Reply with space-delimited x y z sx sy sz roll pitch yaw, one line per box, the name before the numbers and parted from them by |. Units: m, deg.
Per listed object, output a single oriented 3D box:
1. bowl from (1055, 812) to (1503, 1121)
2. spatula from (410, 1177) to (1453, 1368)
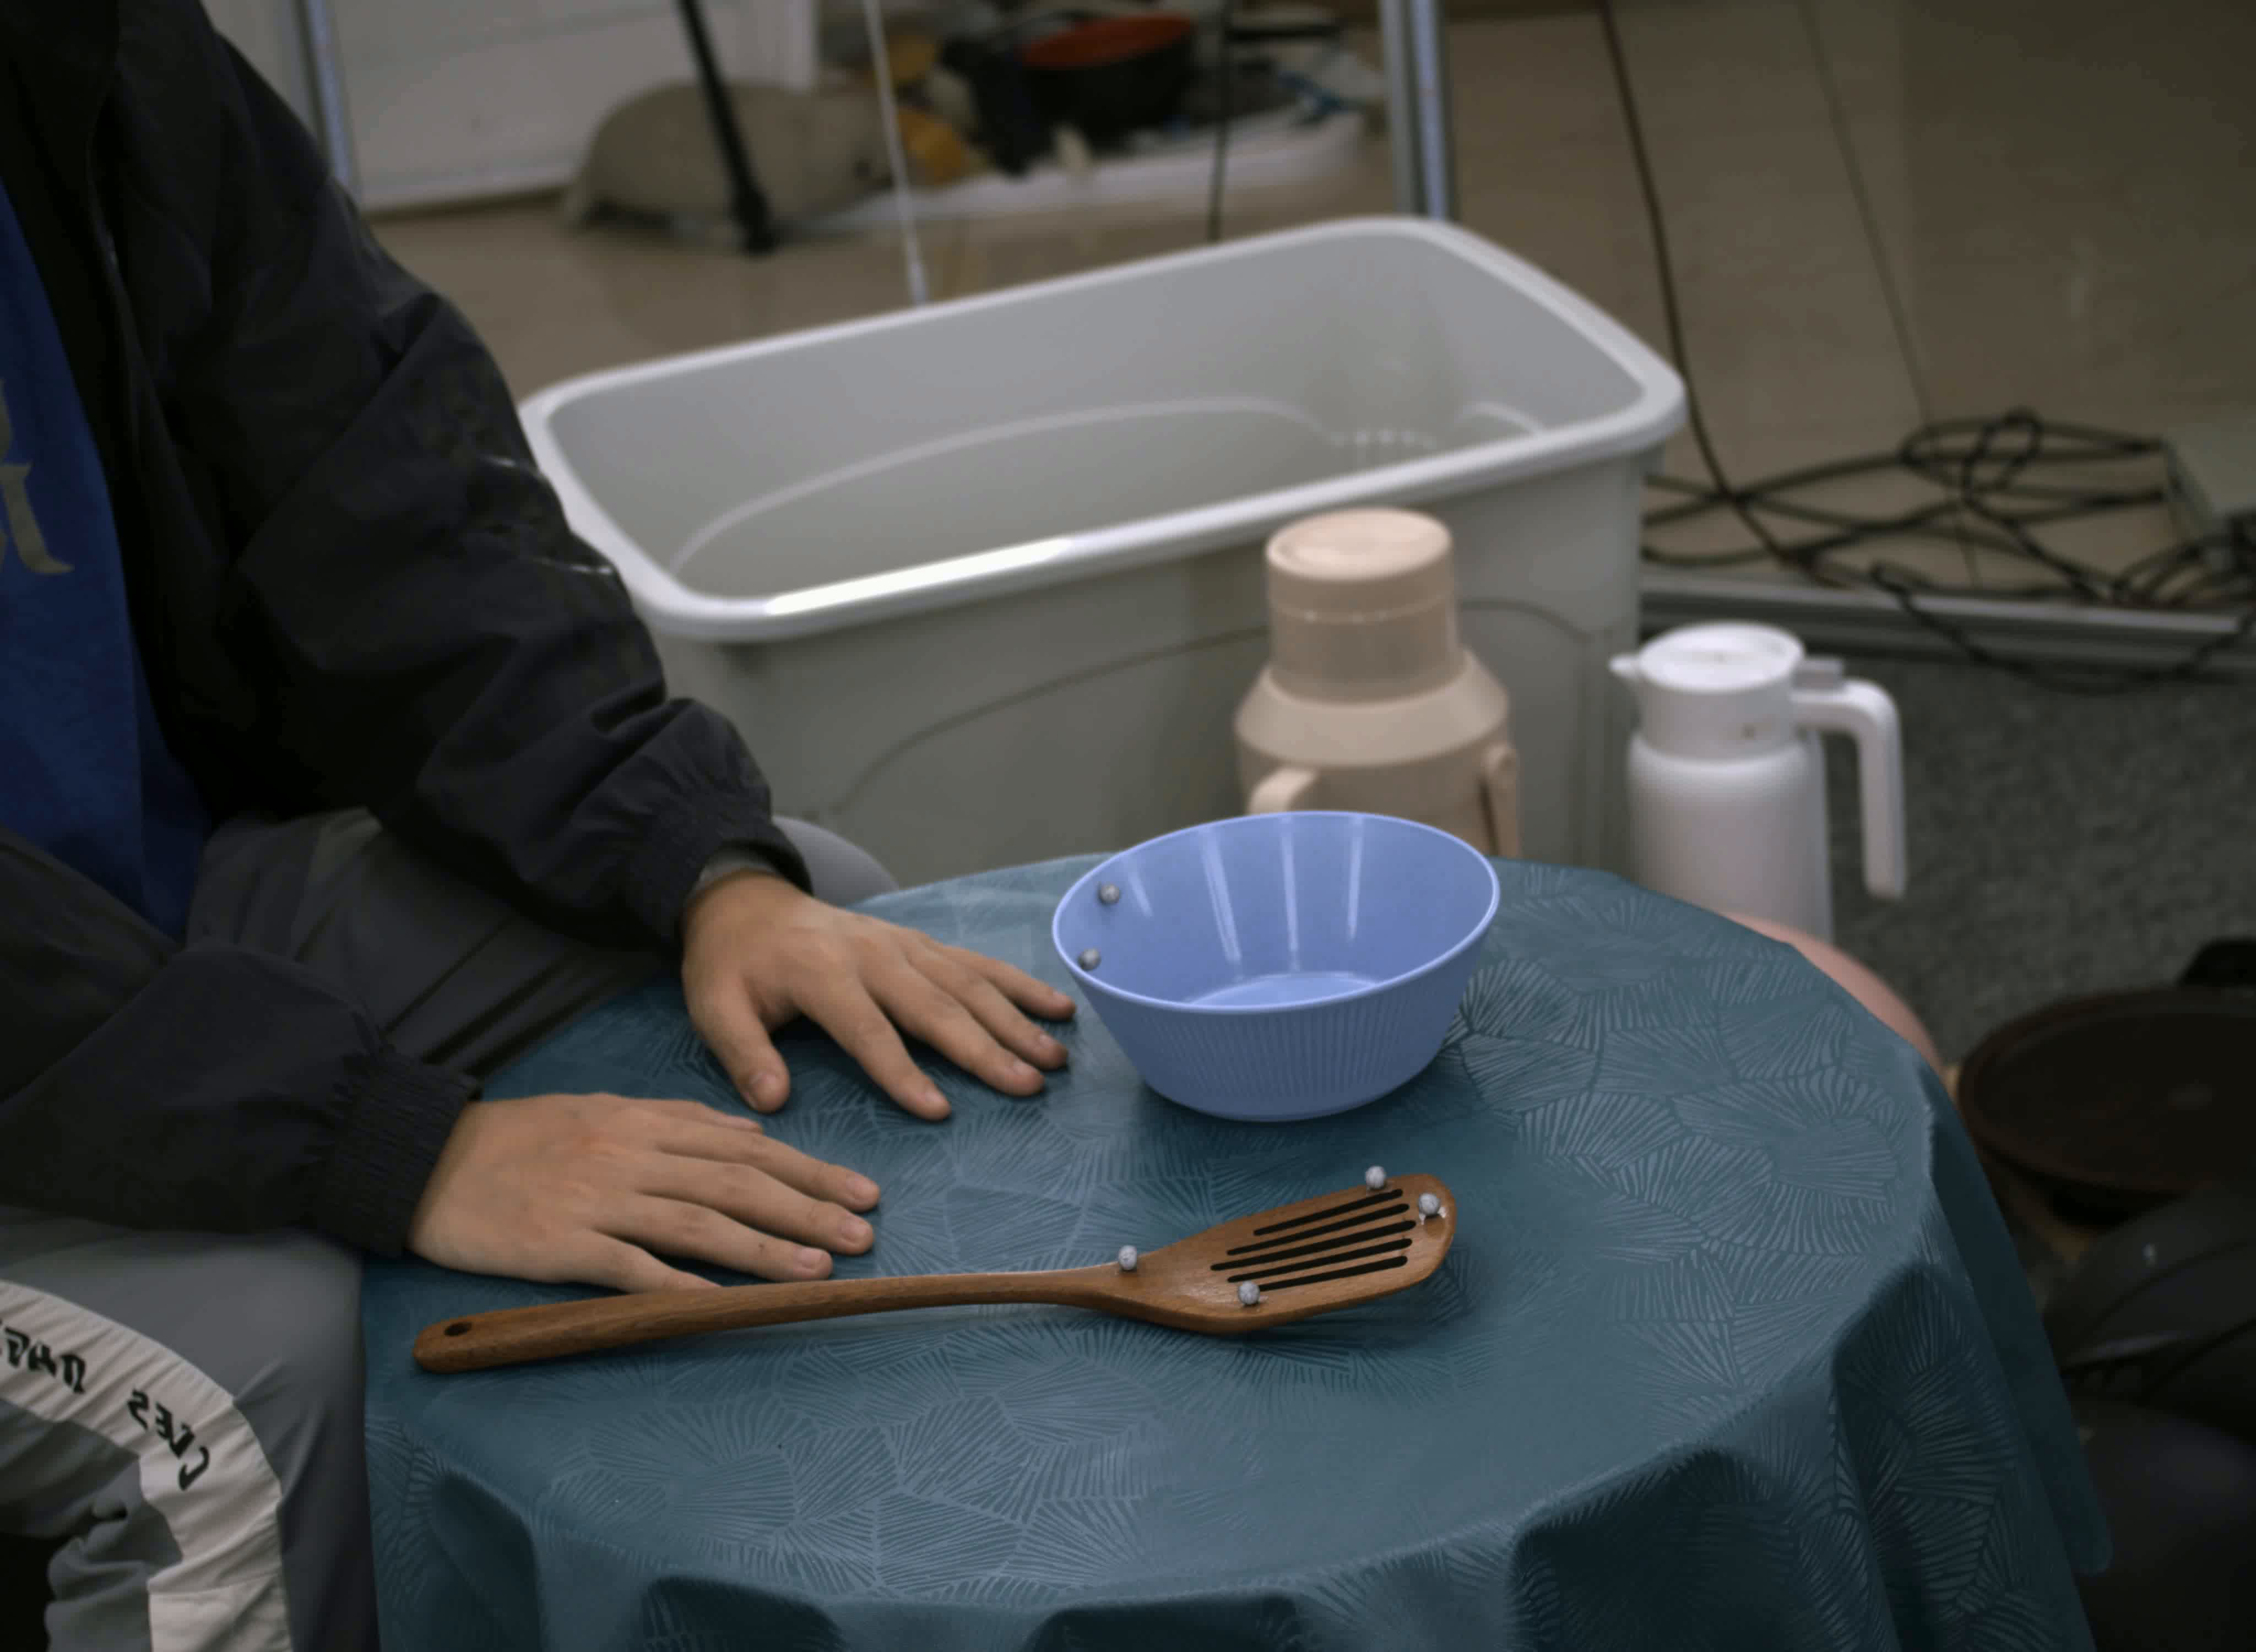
bowl | 0.062 0.060 2.216 0.176 0.071 0.173 -6 24 3
spatula | -0.073 0.172 2.070 0.386 0.024 0.084 -6 24 5
